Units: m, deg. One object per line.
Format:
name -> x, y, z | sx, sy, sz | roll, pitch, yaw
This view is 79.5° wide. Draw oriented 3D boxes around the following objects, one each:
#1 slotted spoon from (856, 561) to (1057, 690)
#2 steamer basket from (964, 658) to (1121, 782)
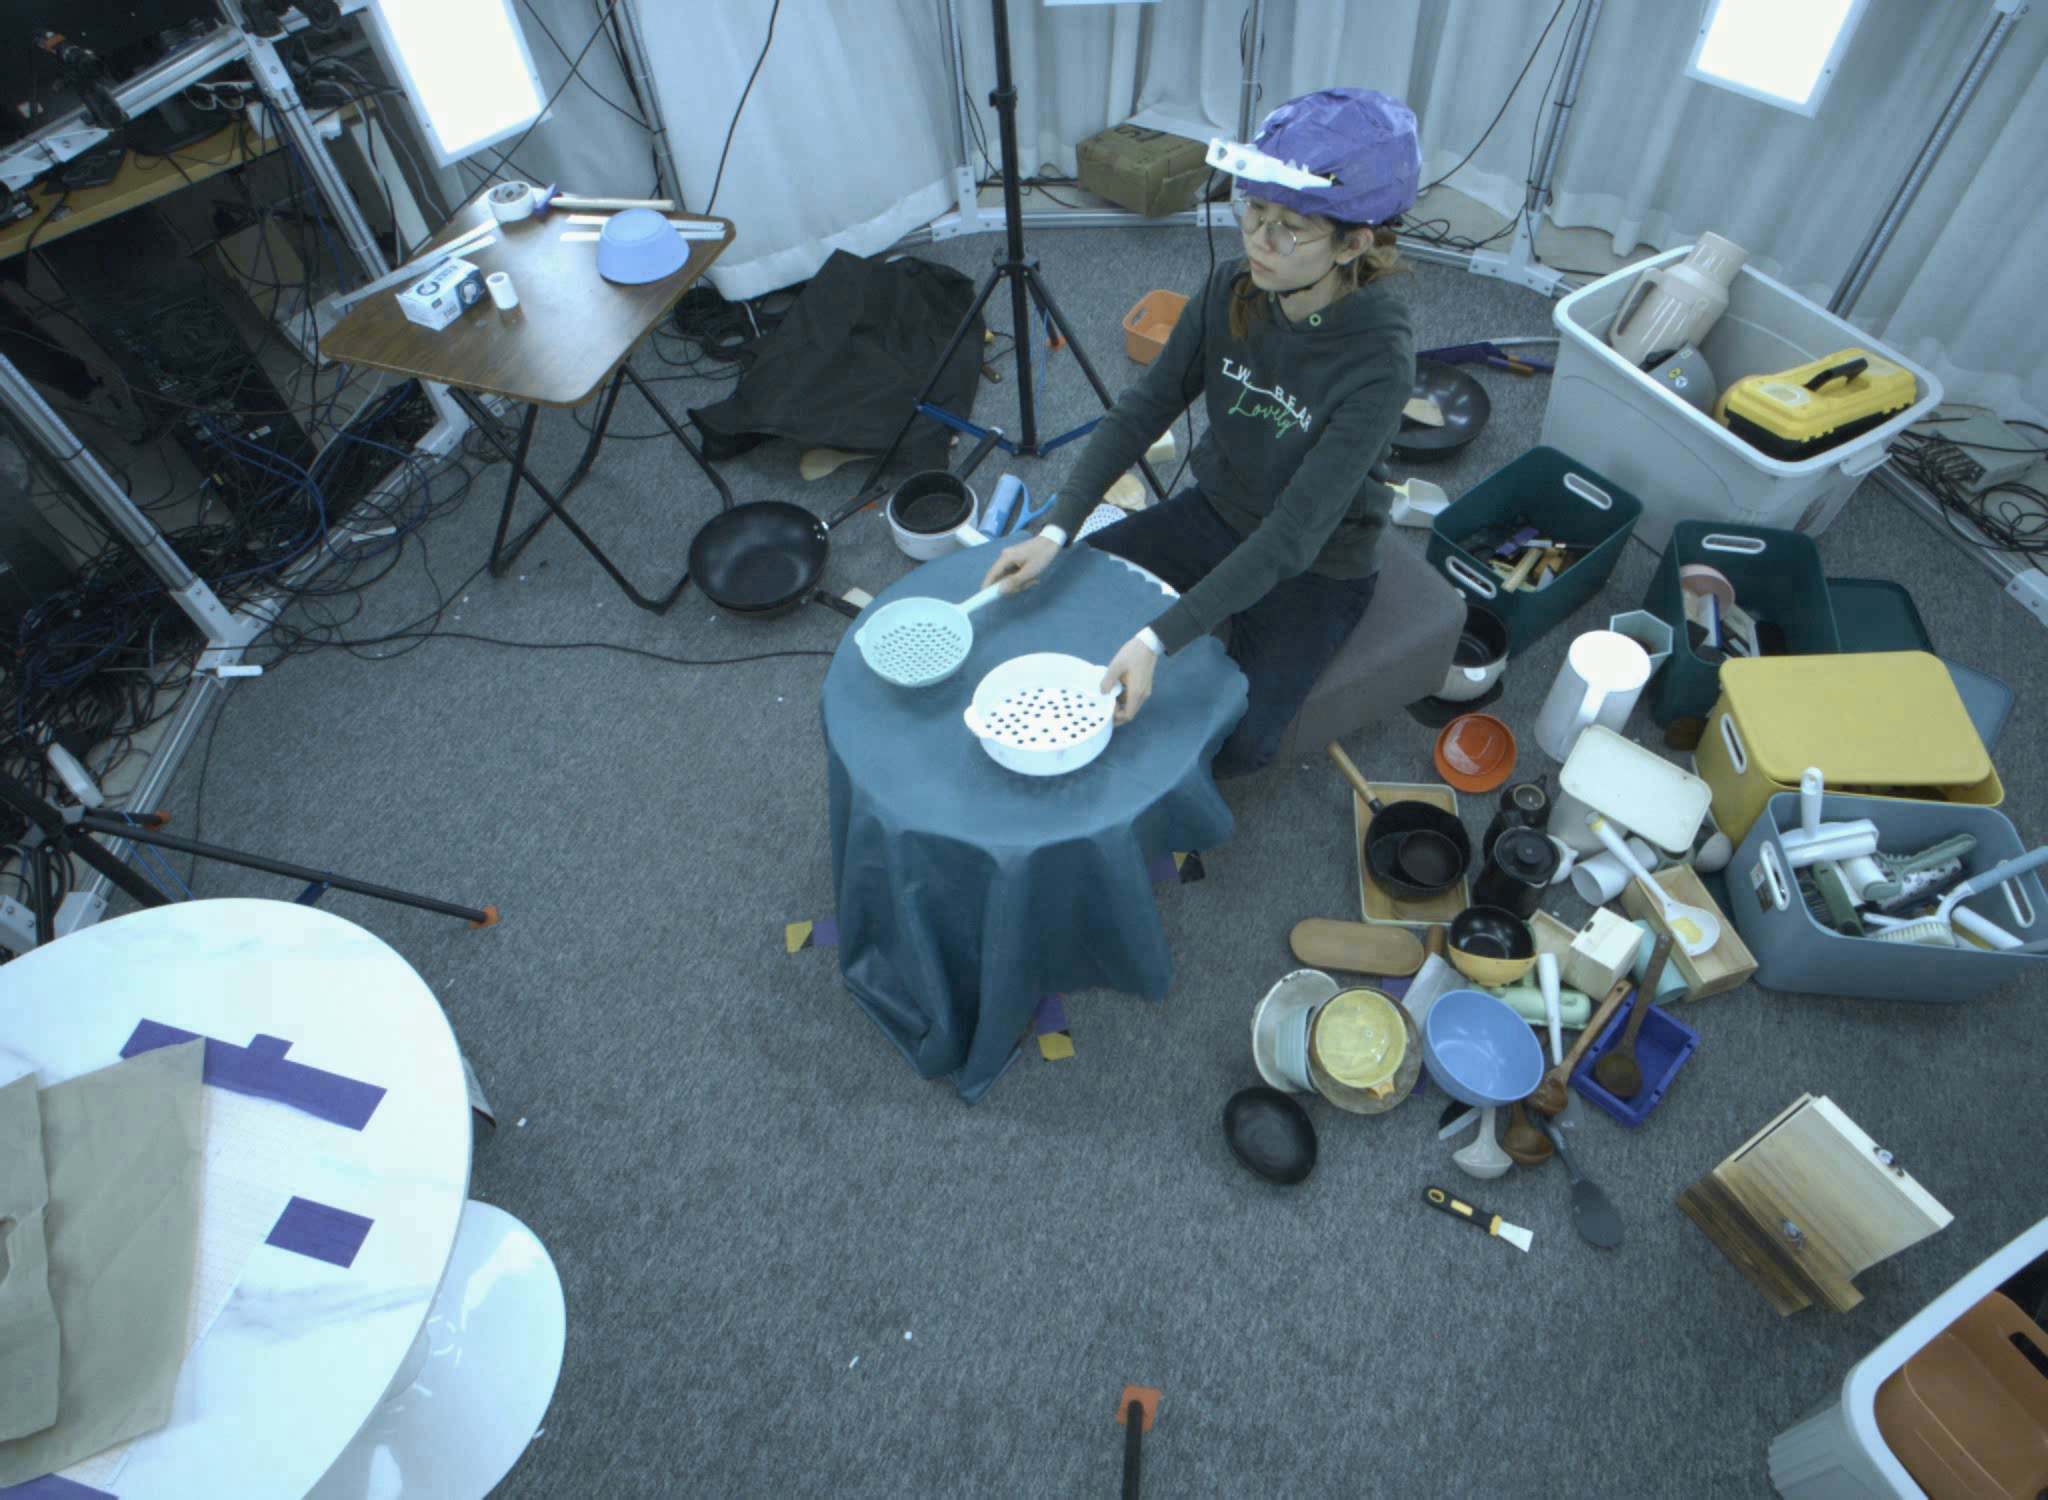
slotted spoon -> -0.087, -0.210, 1.890 | 0.361, 0.076, 0.166 | -40, 64, -18
steamer basket -> 0.028, -0.042, 1.764 | 0.233, 0.070, 0.198 | -19, 49, -16
